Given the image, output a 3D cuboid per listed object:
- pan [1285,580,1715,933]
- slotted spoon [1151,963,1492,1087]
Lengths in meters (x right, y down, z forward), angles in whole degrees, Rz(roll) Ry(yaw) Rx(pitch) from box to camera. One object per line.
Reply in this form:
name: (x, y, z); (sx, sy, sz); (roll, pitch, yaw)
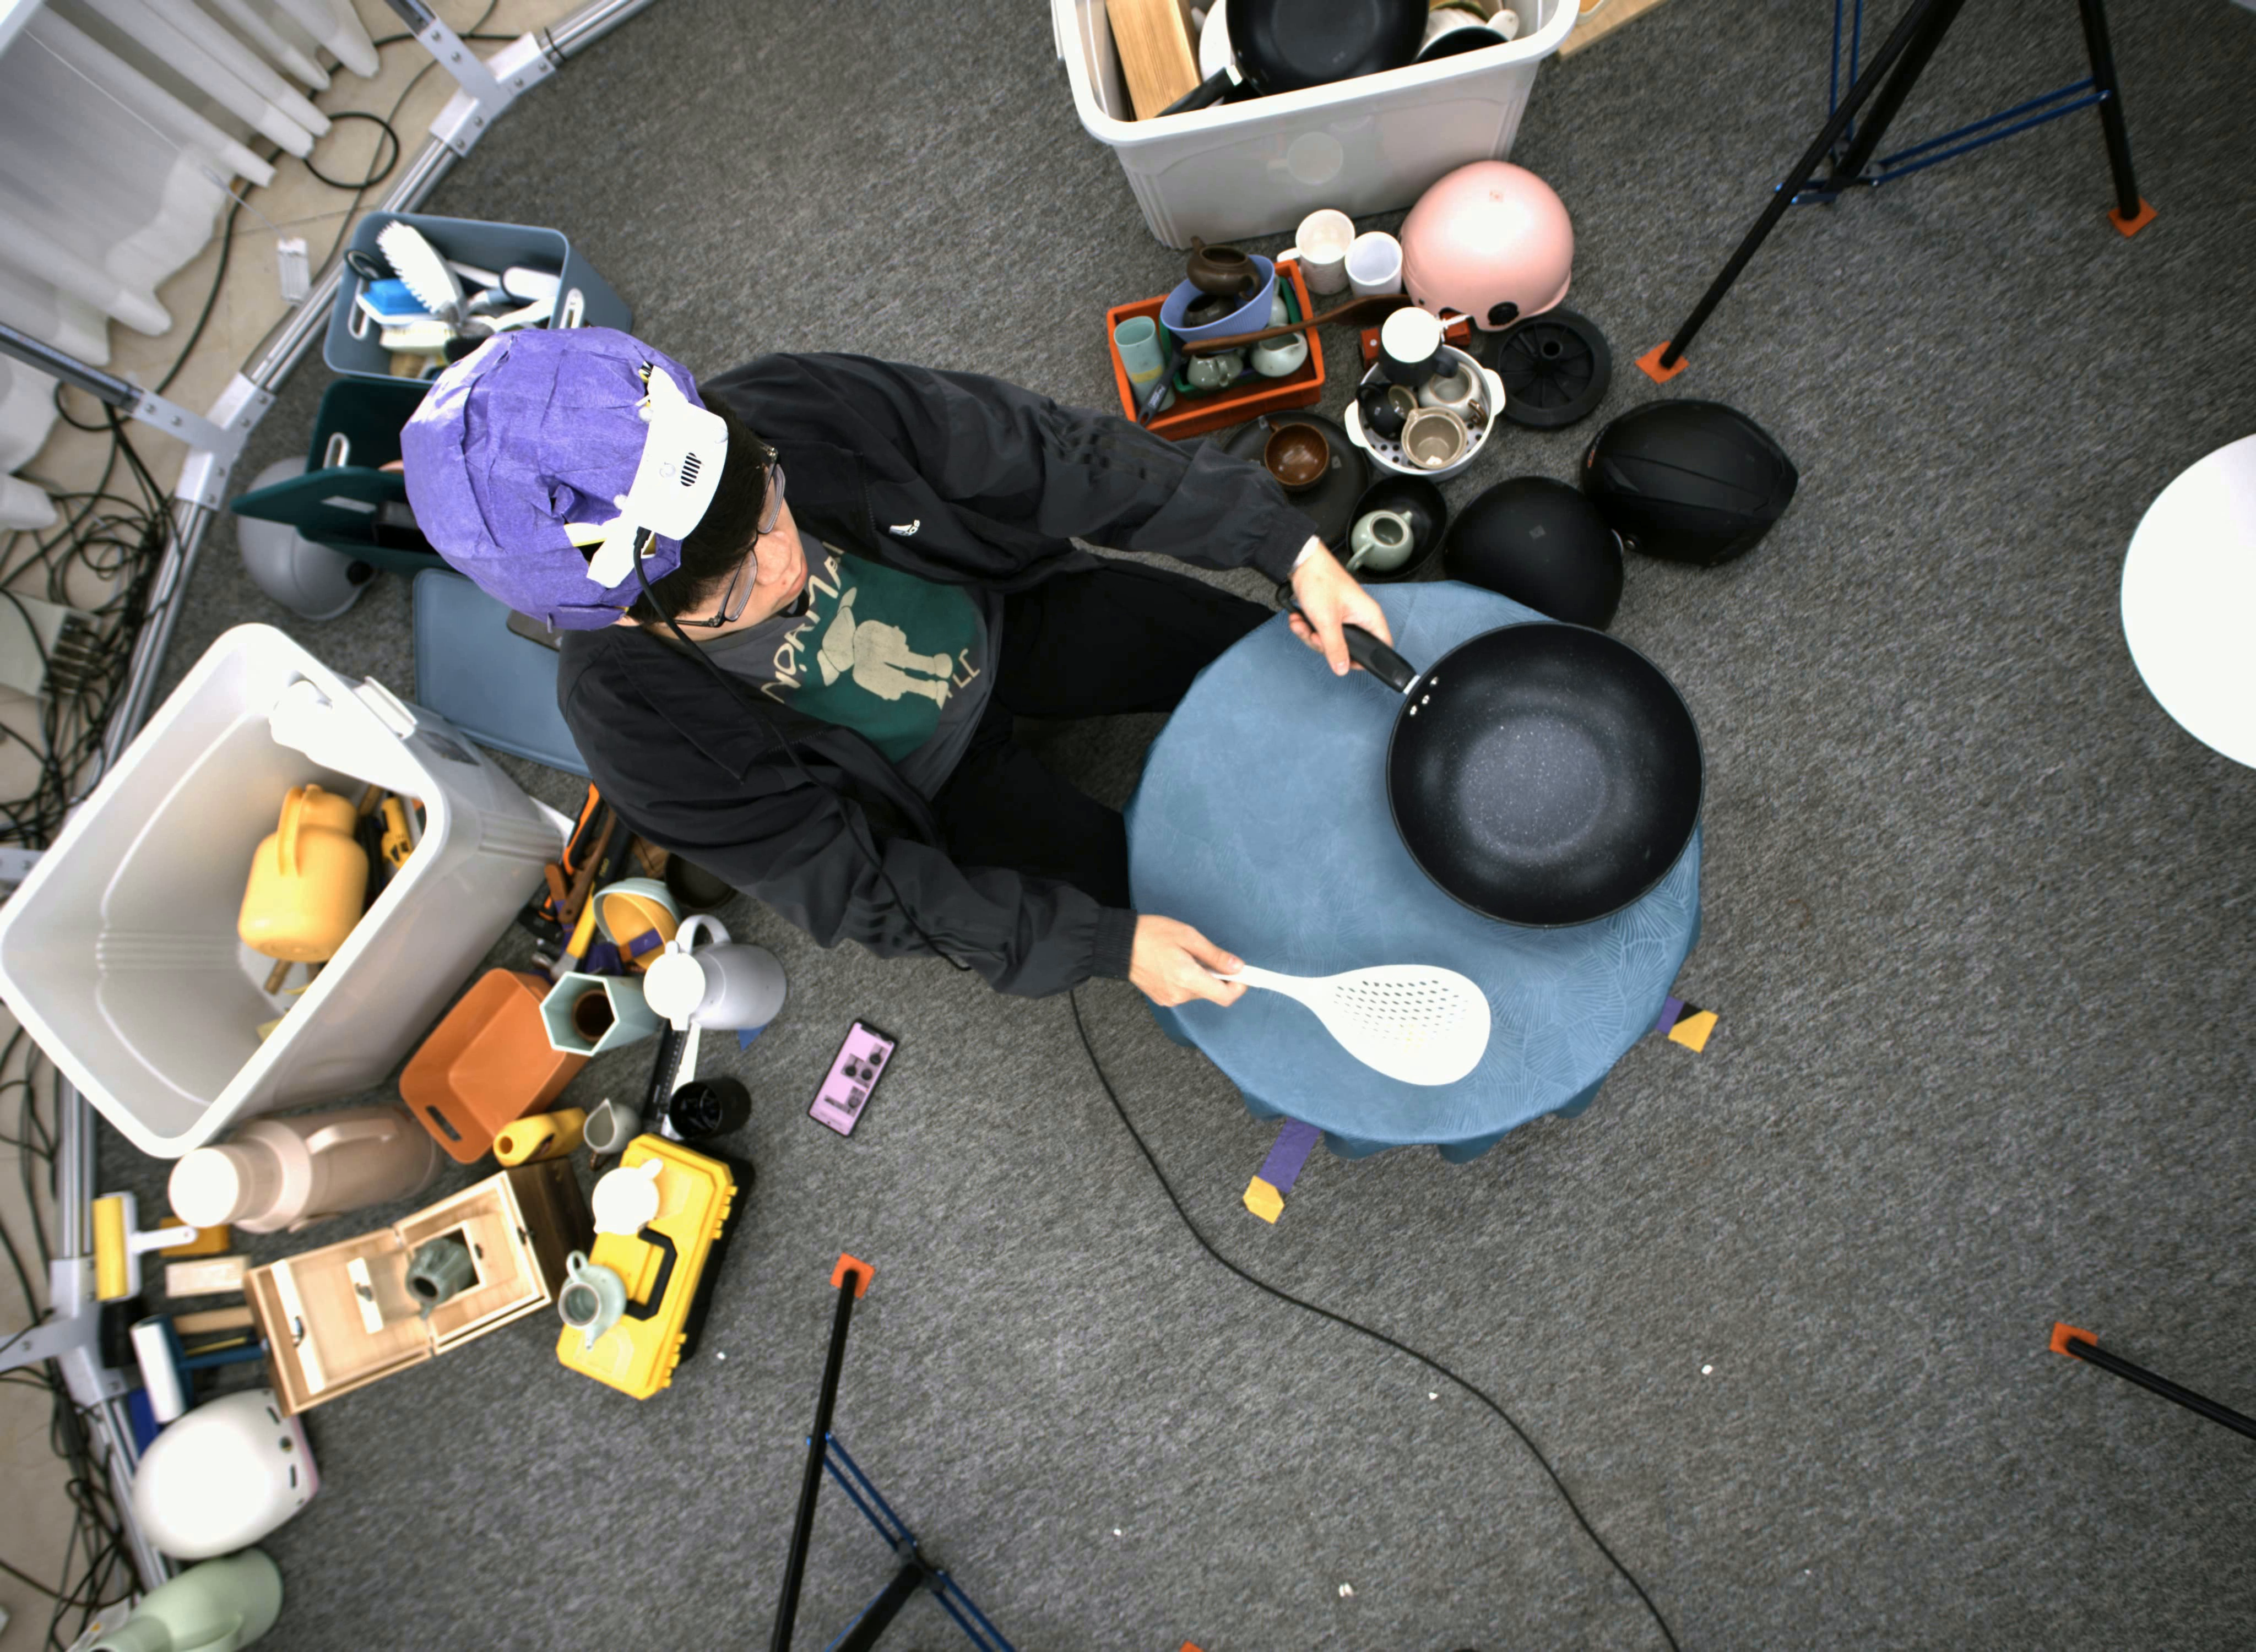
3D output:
pan: (0.358, -0.097, 1.396); (0.475, 0.112, 0.311); (36, 92, 10)
slotted spoon: (0.187, 0.174, 1.389); (0.348, 0.051, 0.133); (15, 57, 16)
